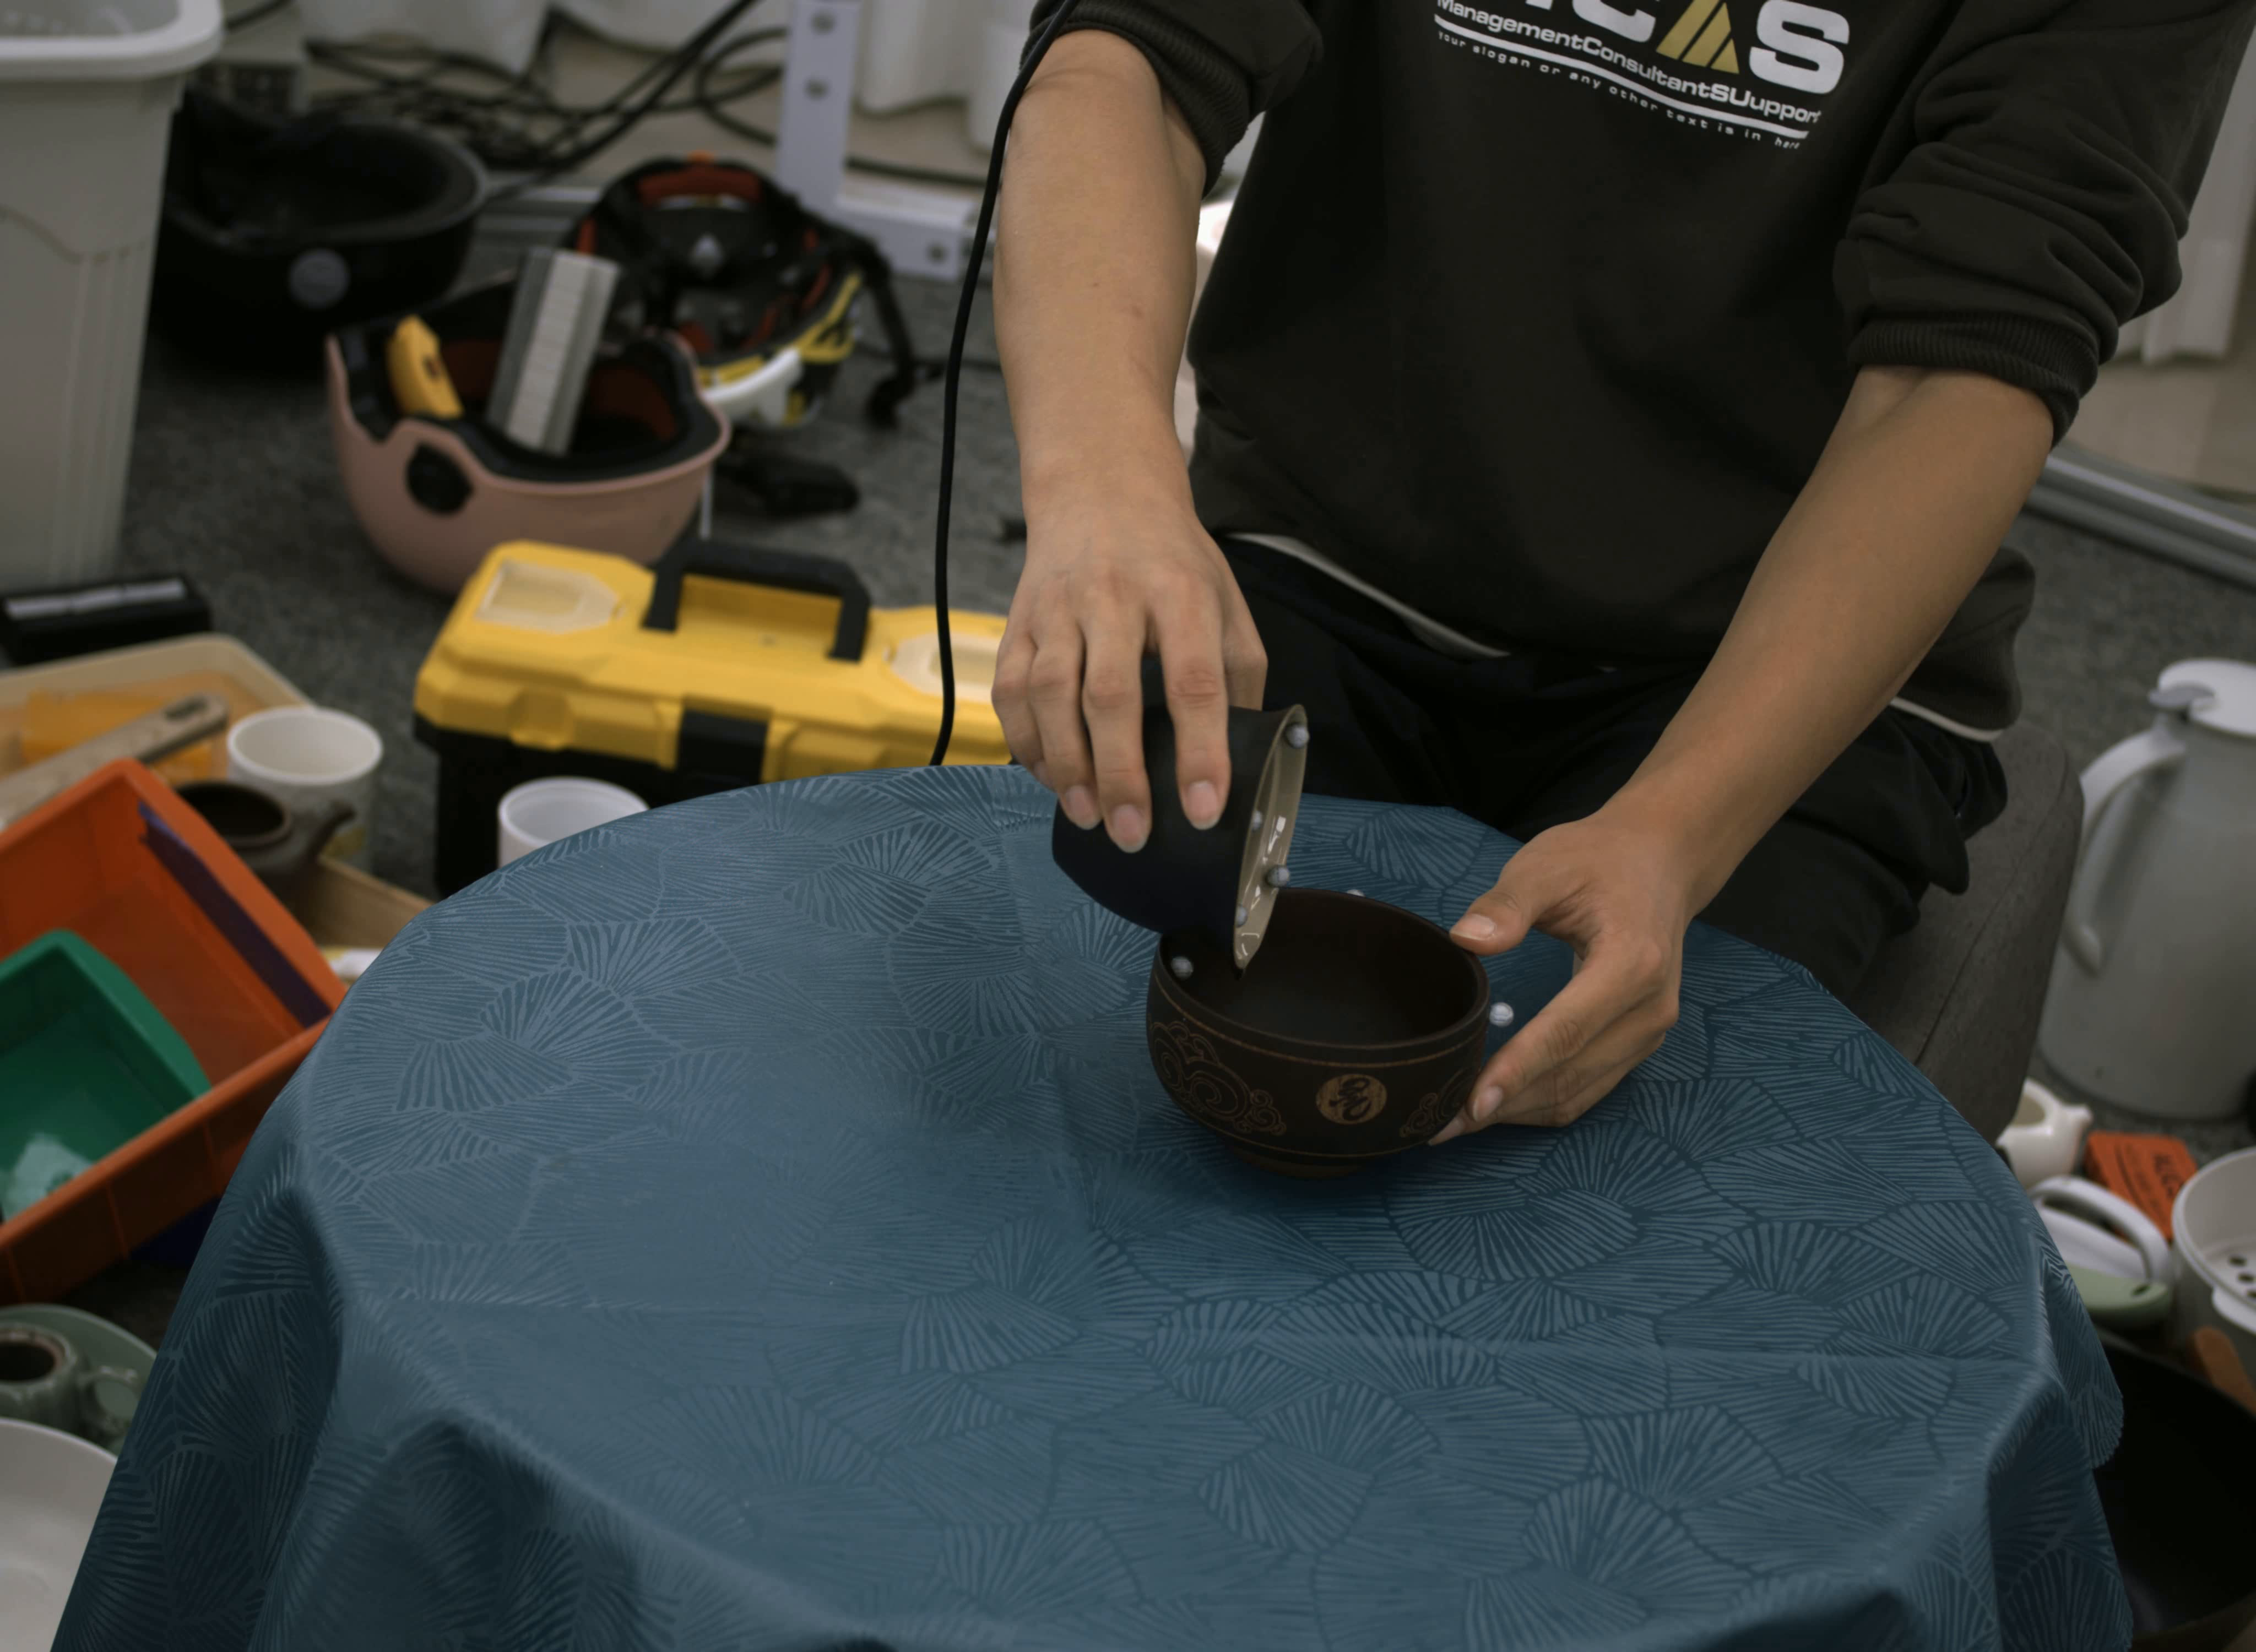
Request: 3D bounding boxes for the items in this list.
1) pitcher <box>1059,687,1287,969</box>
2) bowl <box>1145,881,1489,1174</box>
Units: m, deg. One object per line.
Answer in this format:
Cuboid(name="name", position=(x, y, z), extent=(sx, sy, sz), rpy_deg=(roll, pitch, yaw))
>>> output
Cuboid(name="pitcher", position=(0.016, -0.004, 1.817), extent=(0.071, 0.096, 0.084), rpy_deg=(14, 16, 7))
Cuboid(name="bowl", position=(0.063, 0.076, 1.837), extent=(0.117, 0.069, 0.119), rpy_deg=(4, 28, -3))
